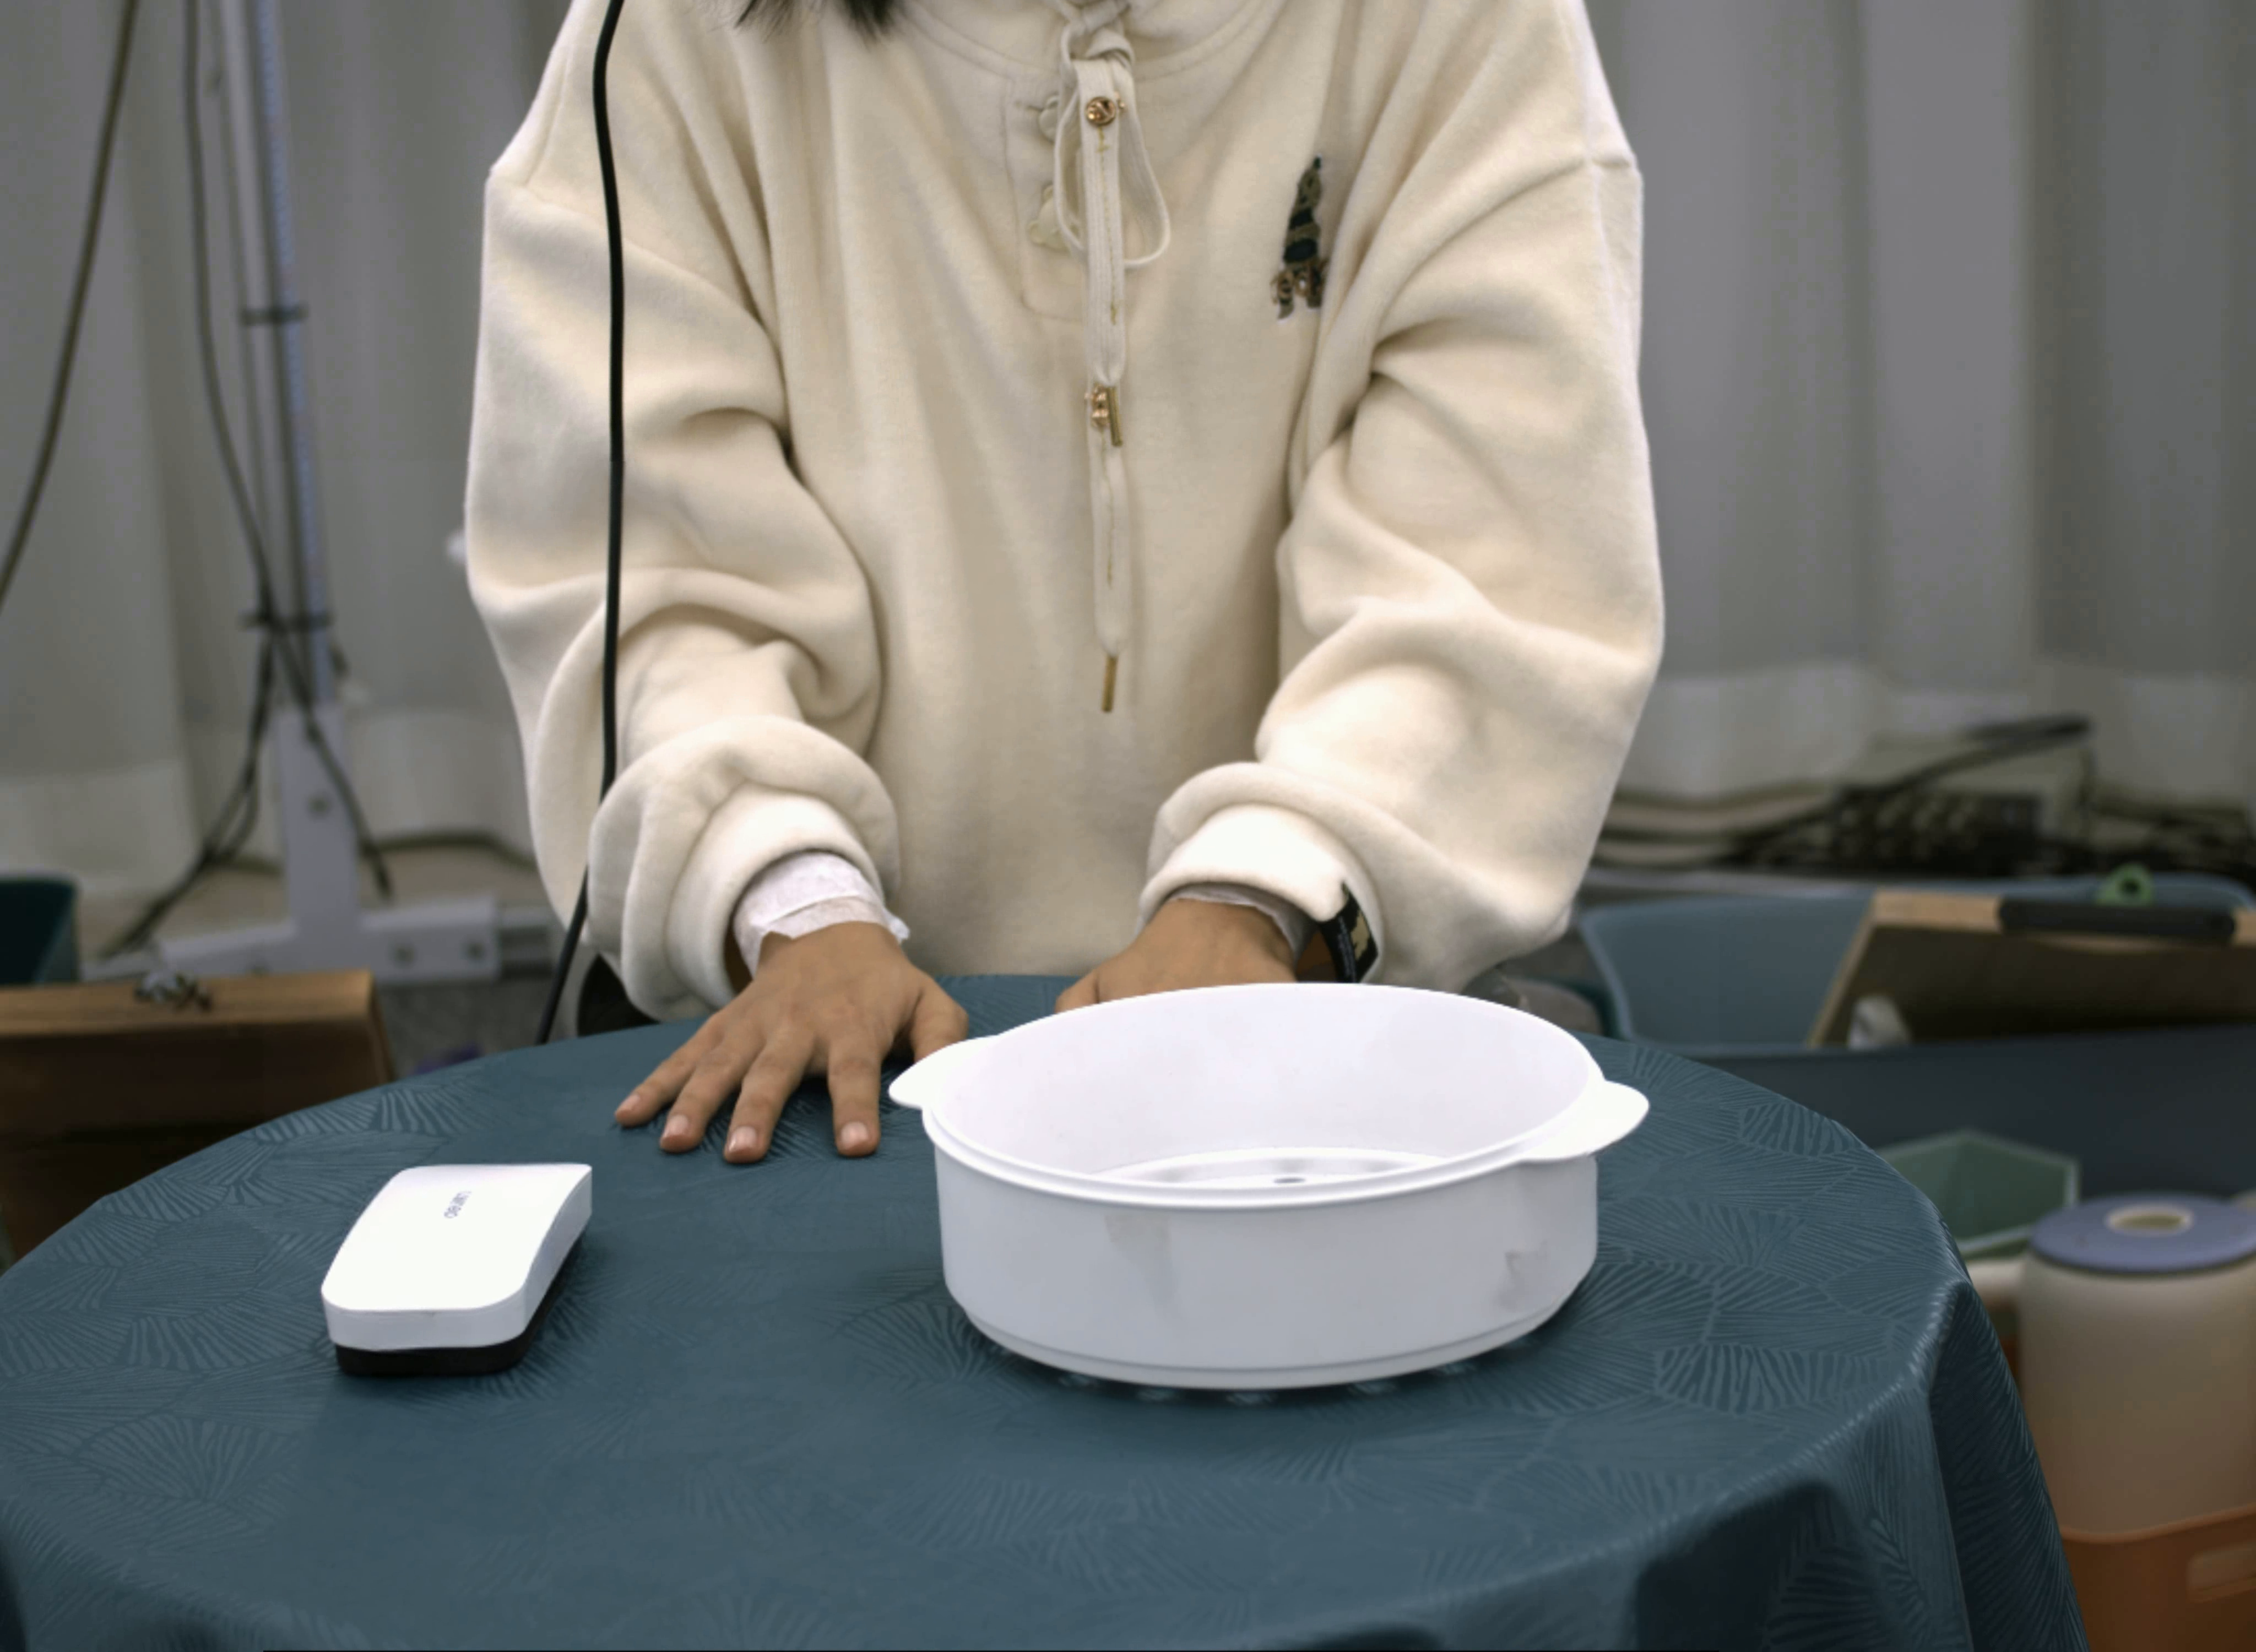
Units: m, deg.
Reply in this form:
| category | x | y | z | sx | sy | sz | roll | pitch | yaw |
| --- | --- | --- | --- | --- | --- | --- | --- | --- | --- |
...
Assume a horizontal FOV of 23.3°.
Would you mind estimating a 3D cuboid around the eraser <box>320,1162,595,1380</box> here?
| category | x | y | z | sx | sy | sz | roll | pitch | yaw |
| --- | --- | --- | --- | --- | --- | --- | --- | --- | --- |
| eraser | -0.198 | 0.129 | 1.640 | 0.063 | 0.034 | 0.132 | -2 | 15 | 8 |

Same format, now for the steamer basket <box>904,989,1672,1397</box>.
| category | x | y | z | sx | sy | sz | roll | pitch | yaw |
| --- | --- | --- | --- | --- | --- | --- | --- | --- | --- |
| steamer basket | 0.046 | 0.107 | 1.606 | 0.231 | 0.069 | 0.202 | 4 | 16 | 23 |
